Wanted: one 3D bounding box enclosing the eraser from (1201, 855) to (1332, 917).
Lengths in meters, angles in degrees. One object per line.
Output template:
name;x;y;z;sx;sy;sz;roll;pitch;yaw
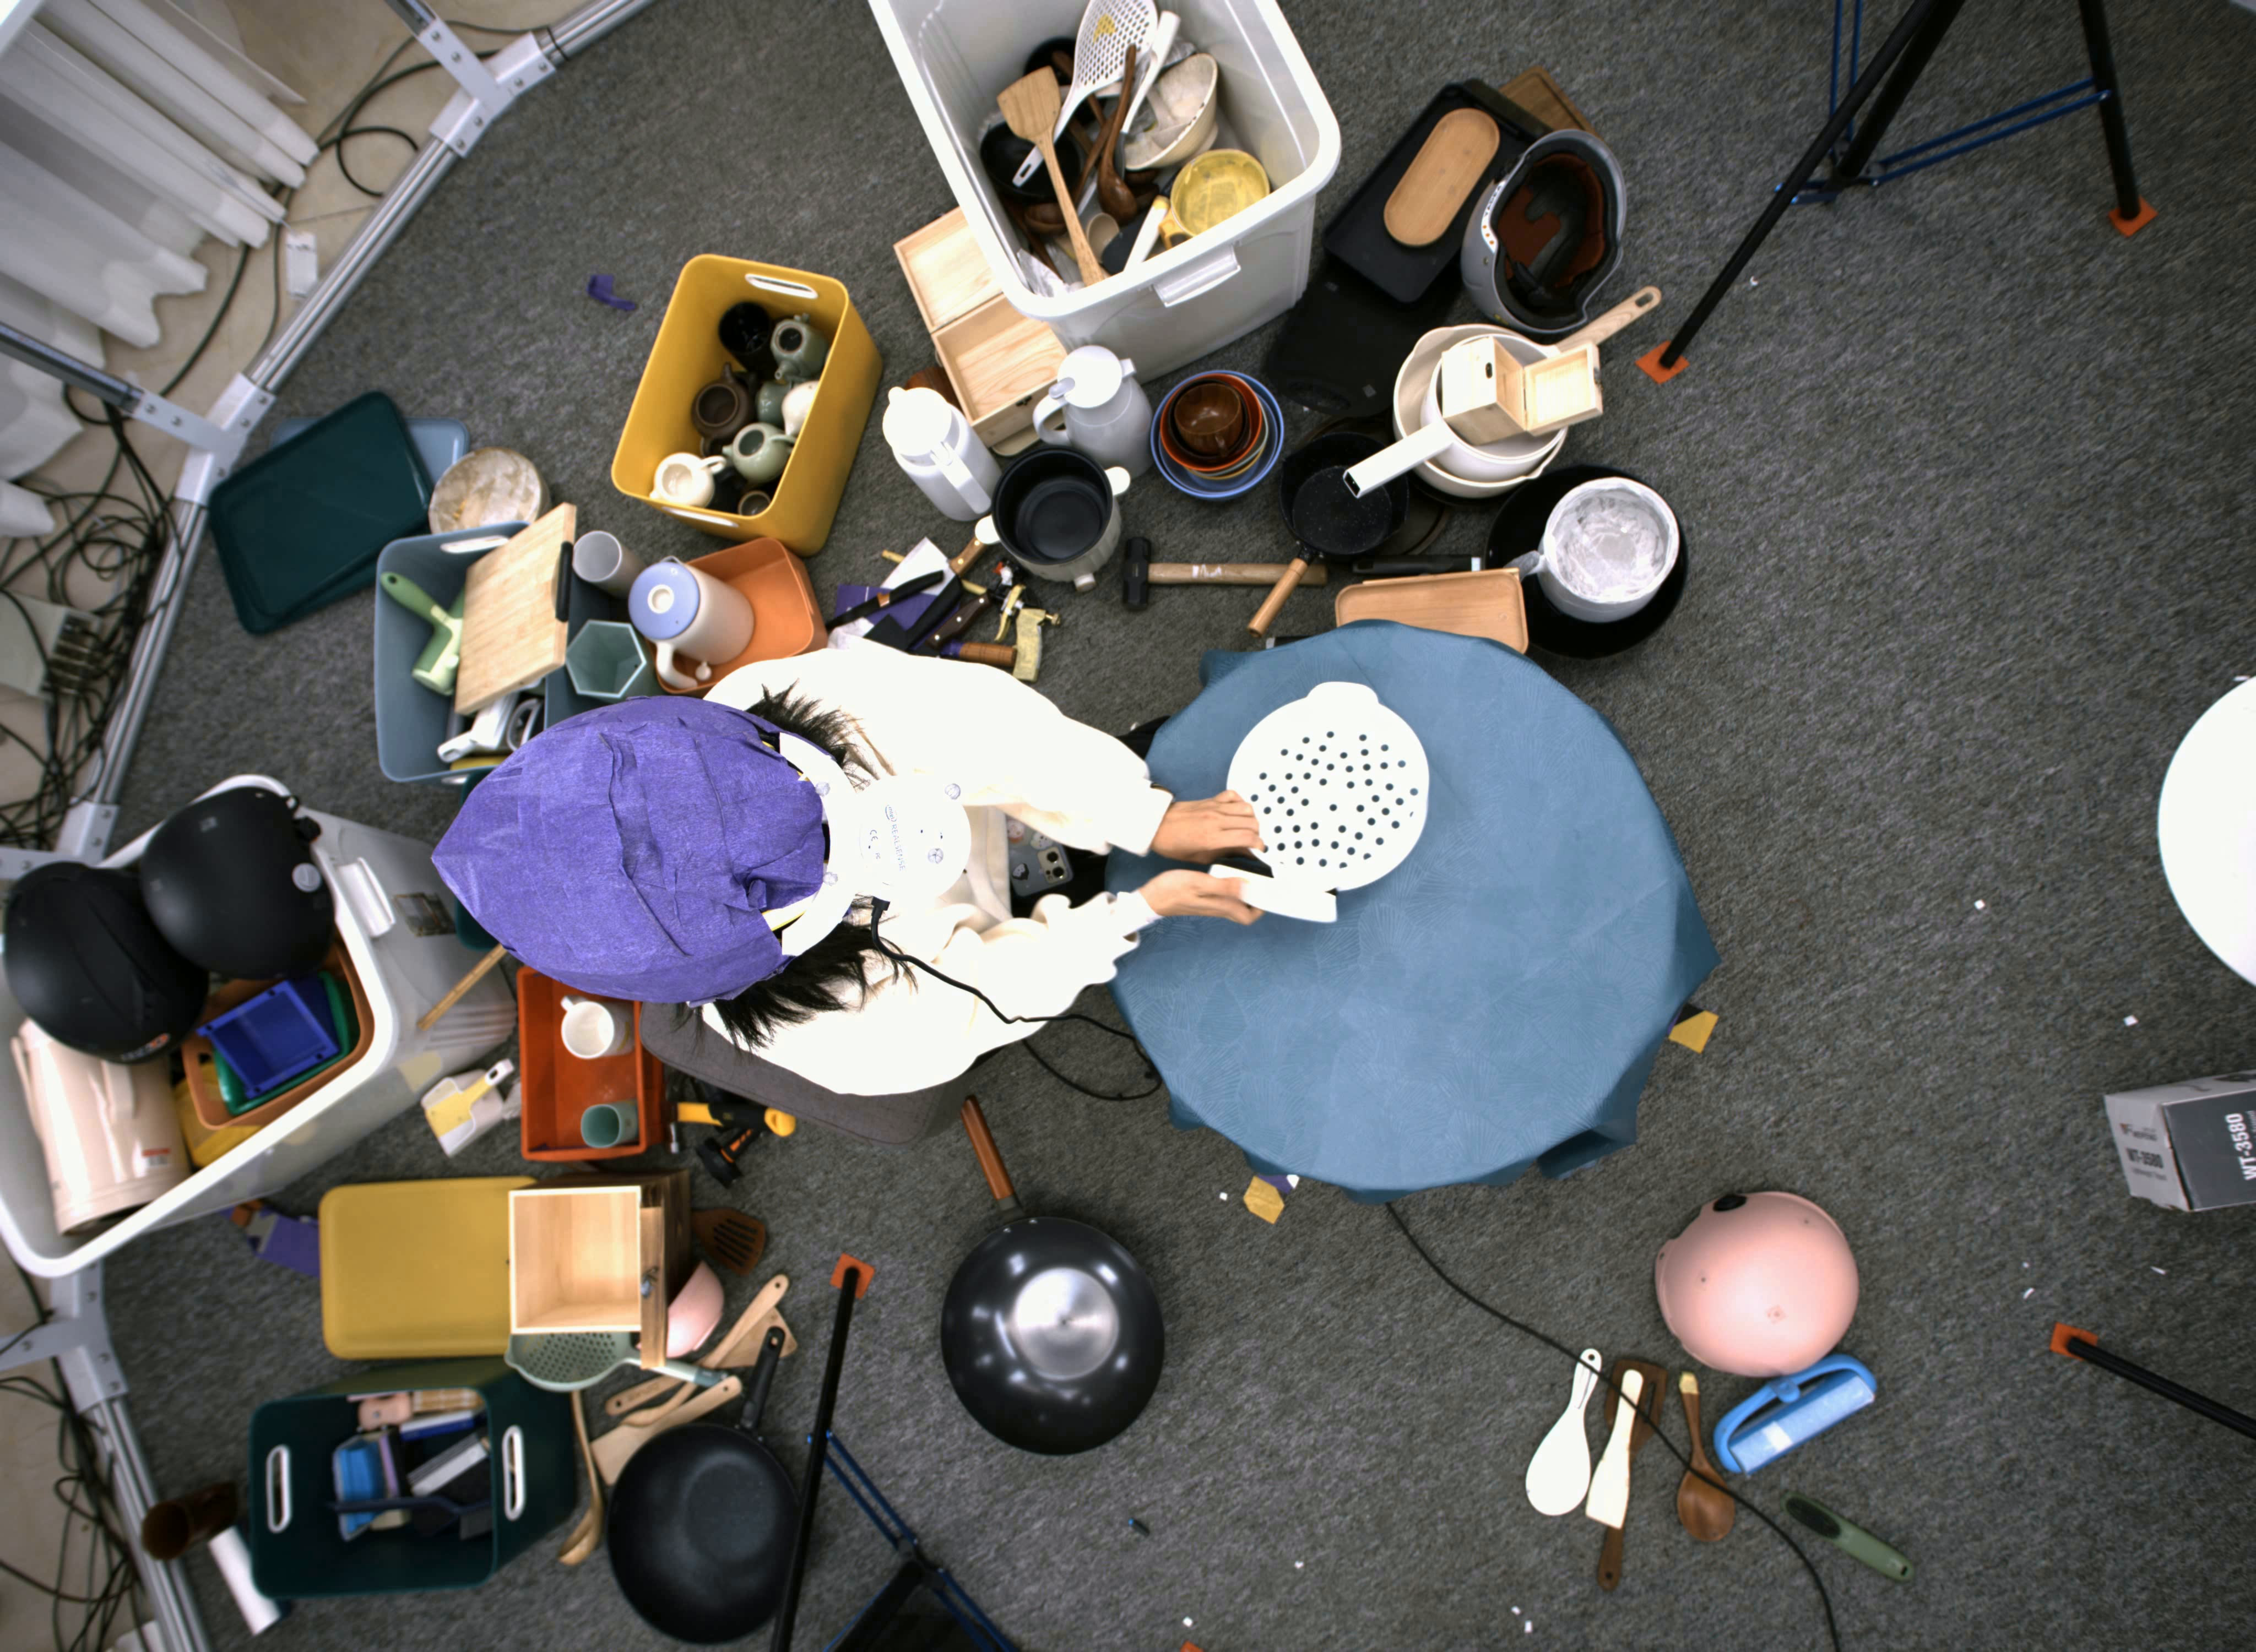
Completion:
eraser;0.139;0.062;1.383;0.131;0.064;0.034;12;75;12

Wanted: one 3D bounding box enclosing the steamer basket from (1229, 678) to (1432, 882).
steamer basket;0.206;-0.040;1.398;0.202;0.070;0.226;8;66;18
